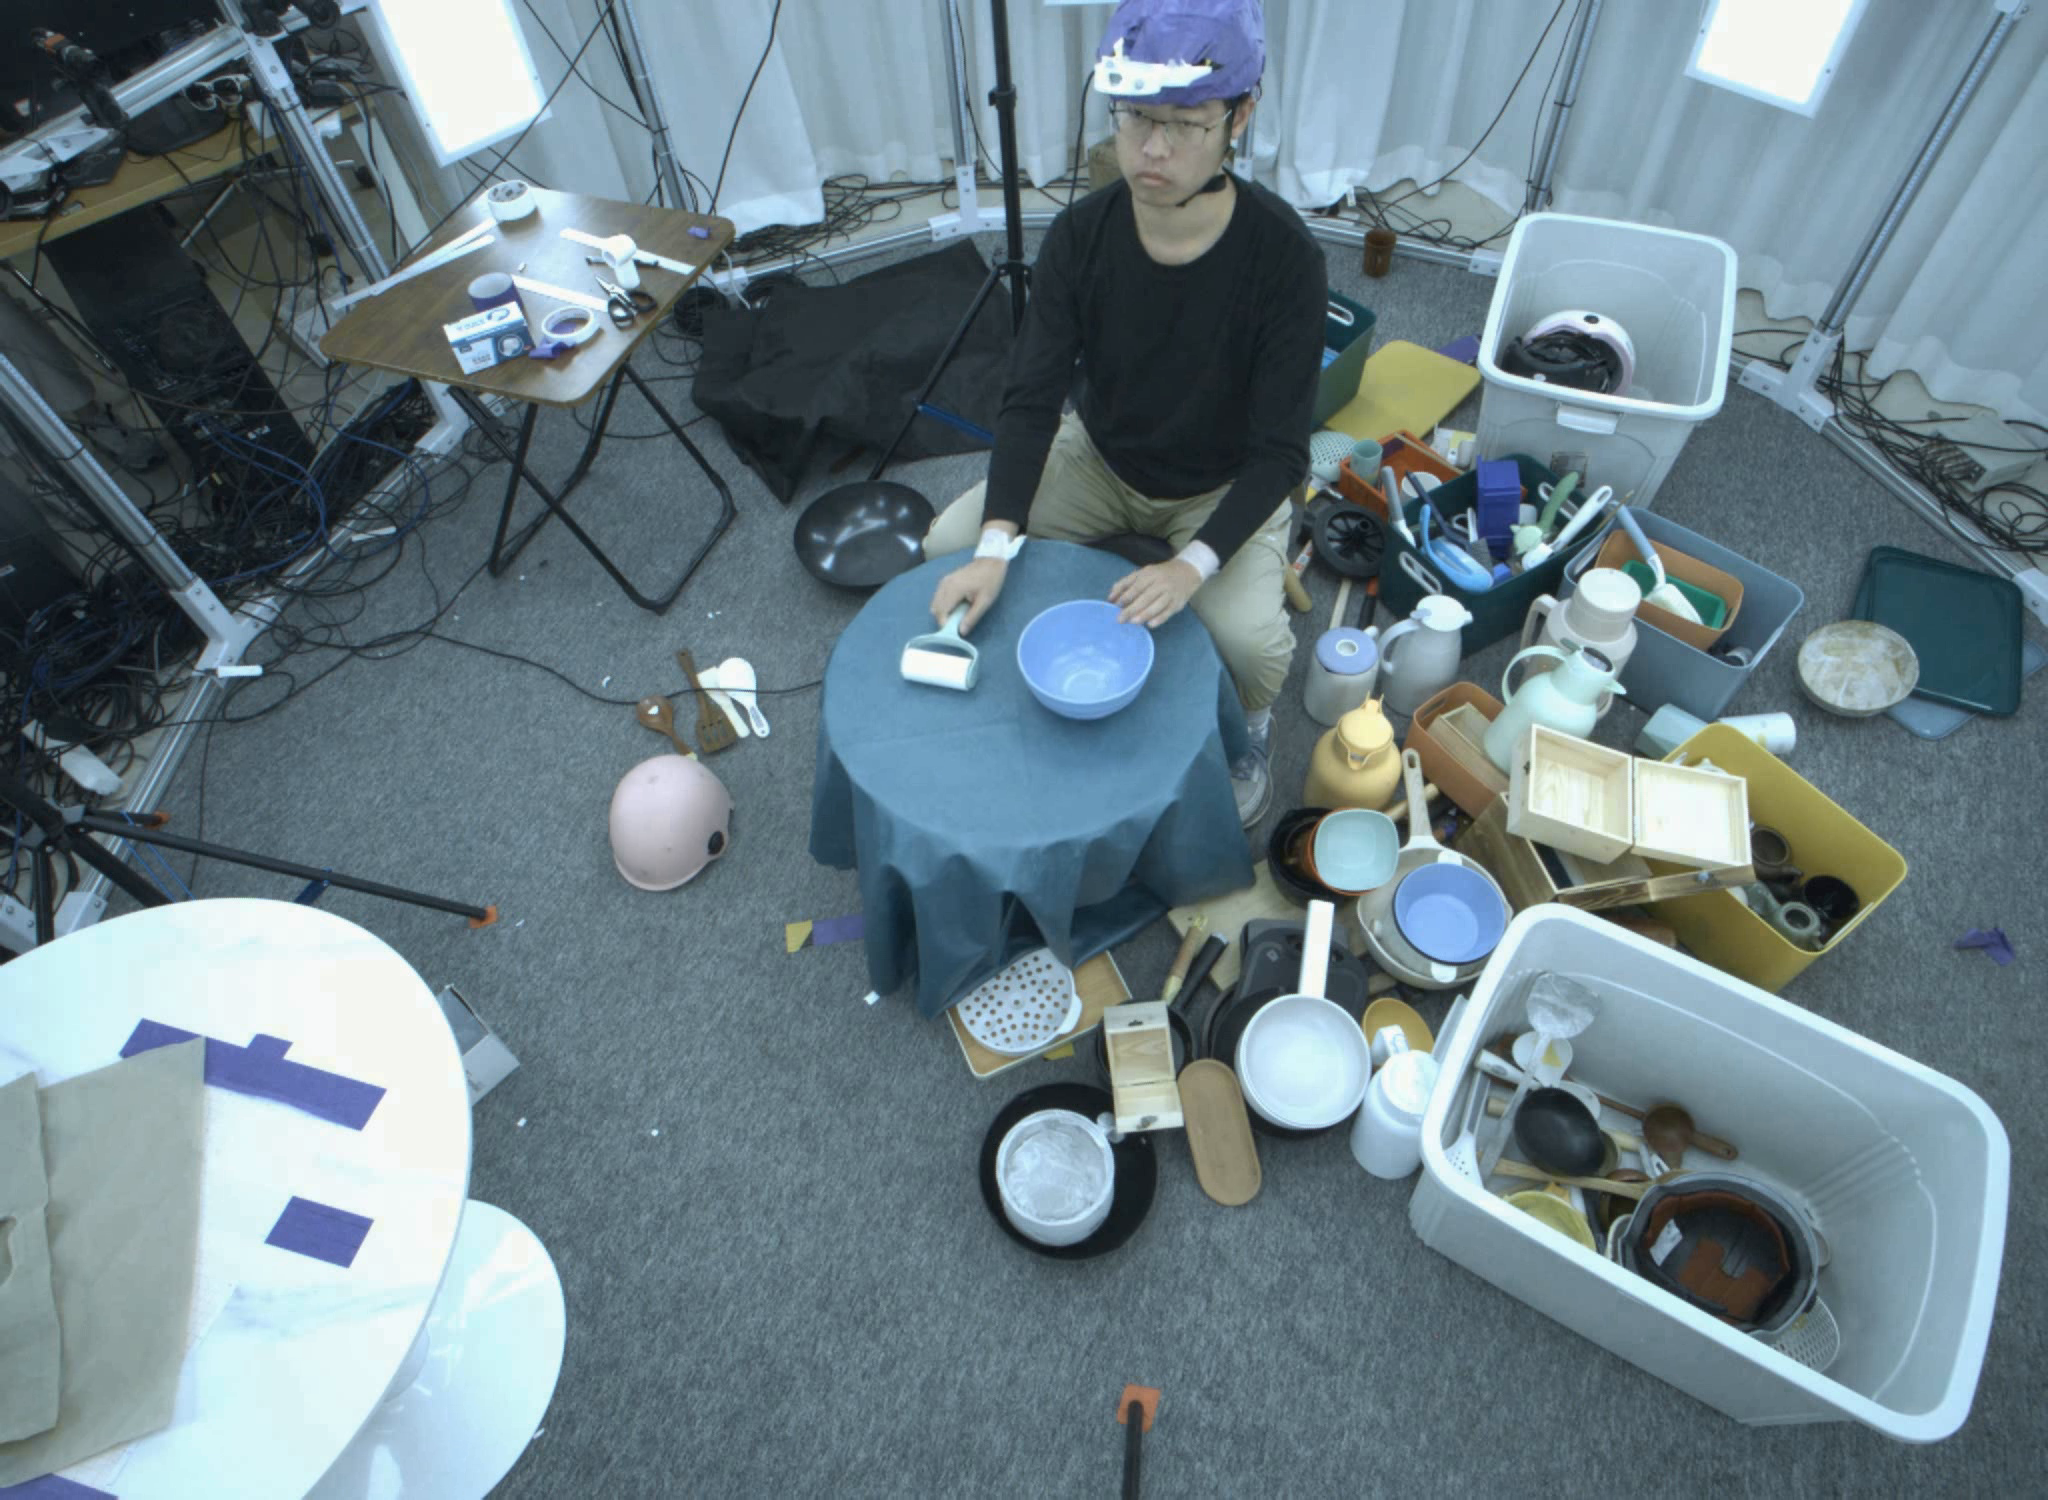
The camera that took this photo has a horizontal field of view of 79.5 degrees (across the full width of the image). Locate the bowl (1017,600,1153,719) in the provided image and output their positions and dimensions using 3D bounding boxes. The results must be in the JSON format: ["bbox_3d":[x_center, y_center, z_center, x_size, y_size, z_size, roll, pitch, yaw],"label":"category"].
[{"bbox_3d":[0.091,-0.118,1.808,0.196,0.096,0.194,-1,54,3],"label":"bowl"}]

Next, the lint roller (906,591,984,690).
[{"bbox_3d":[-0.102,-0.178,1.885,0.116,0.049,0.197,10,58,11],"label":"lint roller"}]
